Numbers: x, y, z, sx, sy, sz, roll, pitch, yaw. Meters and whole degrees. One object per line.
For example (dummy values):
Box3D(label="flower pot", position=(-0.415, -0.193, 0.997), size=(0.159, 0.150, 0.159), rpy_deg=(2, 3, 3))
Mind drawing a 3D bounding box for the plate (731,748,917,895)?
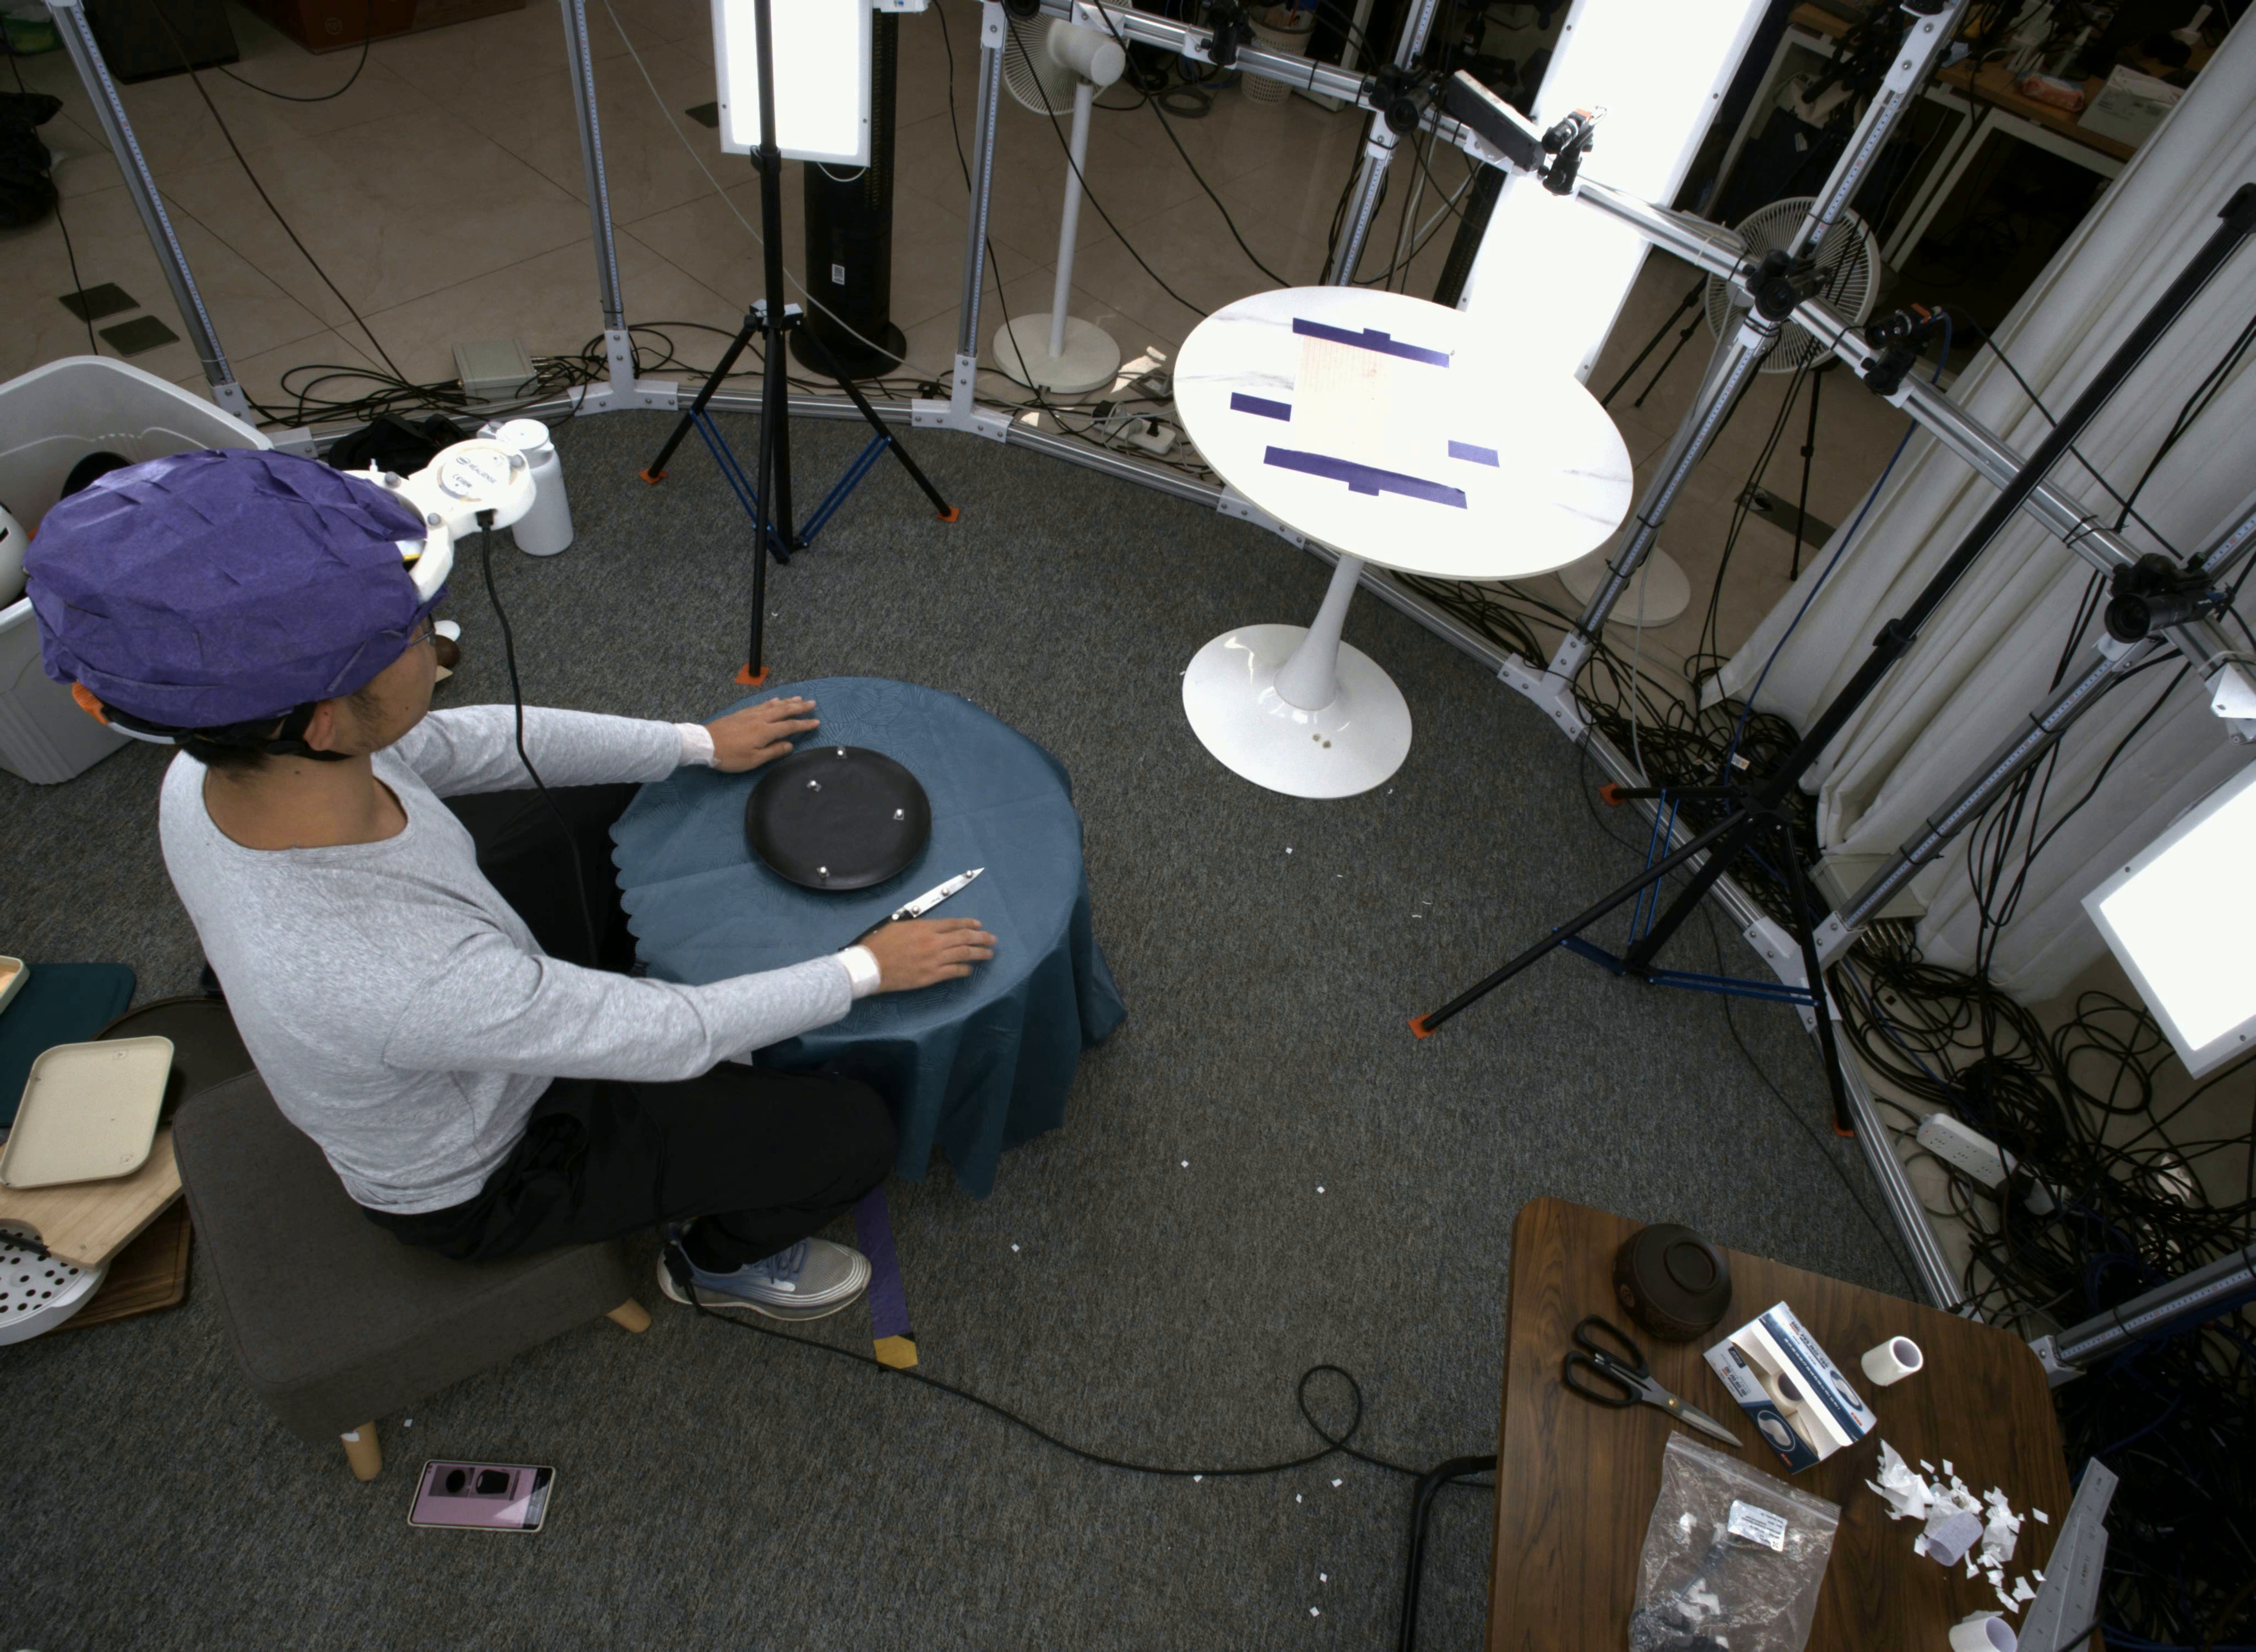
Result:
Box3D(label="plate", position=(-0.404, -0.006, 1.730), size=(0.244, 0.024, 0.240), rpy_deg=(8, 53, -9))

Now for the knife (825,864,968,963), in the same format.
Box3D(label="knife", position=(-0.292, 0.109, 1.681), size=(0.024, 0.016, 0.239), rpy_deg=(41, 52, 18))
